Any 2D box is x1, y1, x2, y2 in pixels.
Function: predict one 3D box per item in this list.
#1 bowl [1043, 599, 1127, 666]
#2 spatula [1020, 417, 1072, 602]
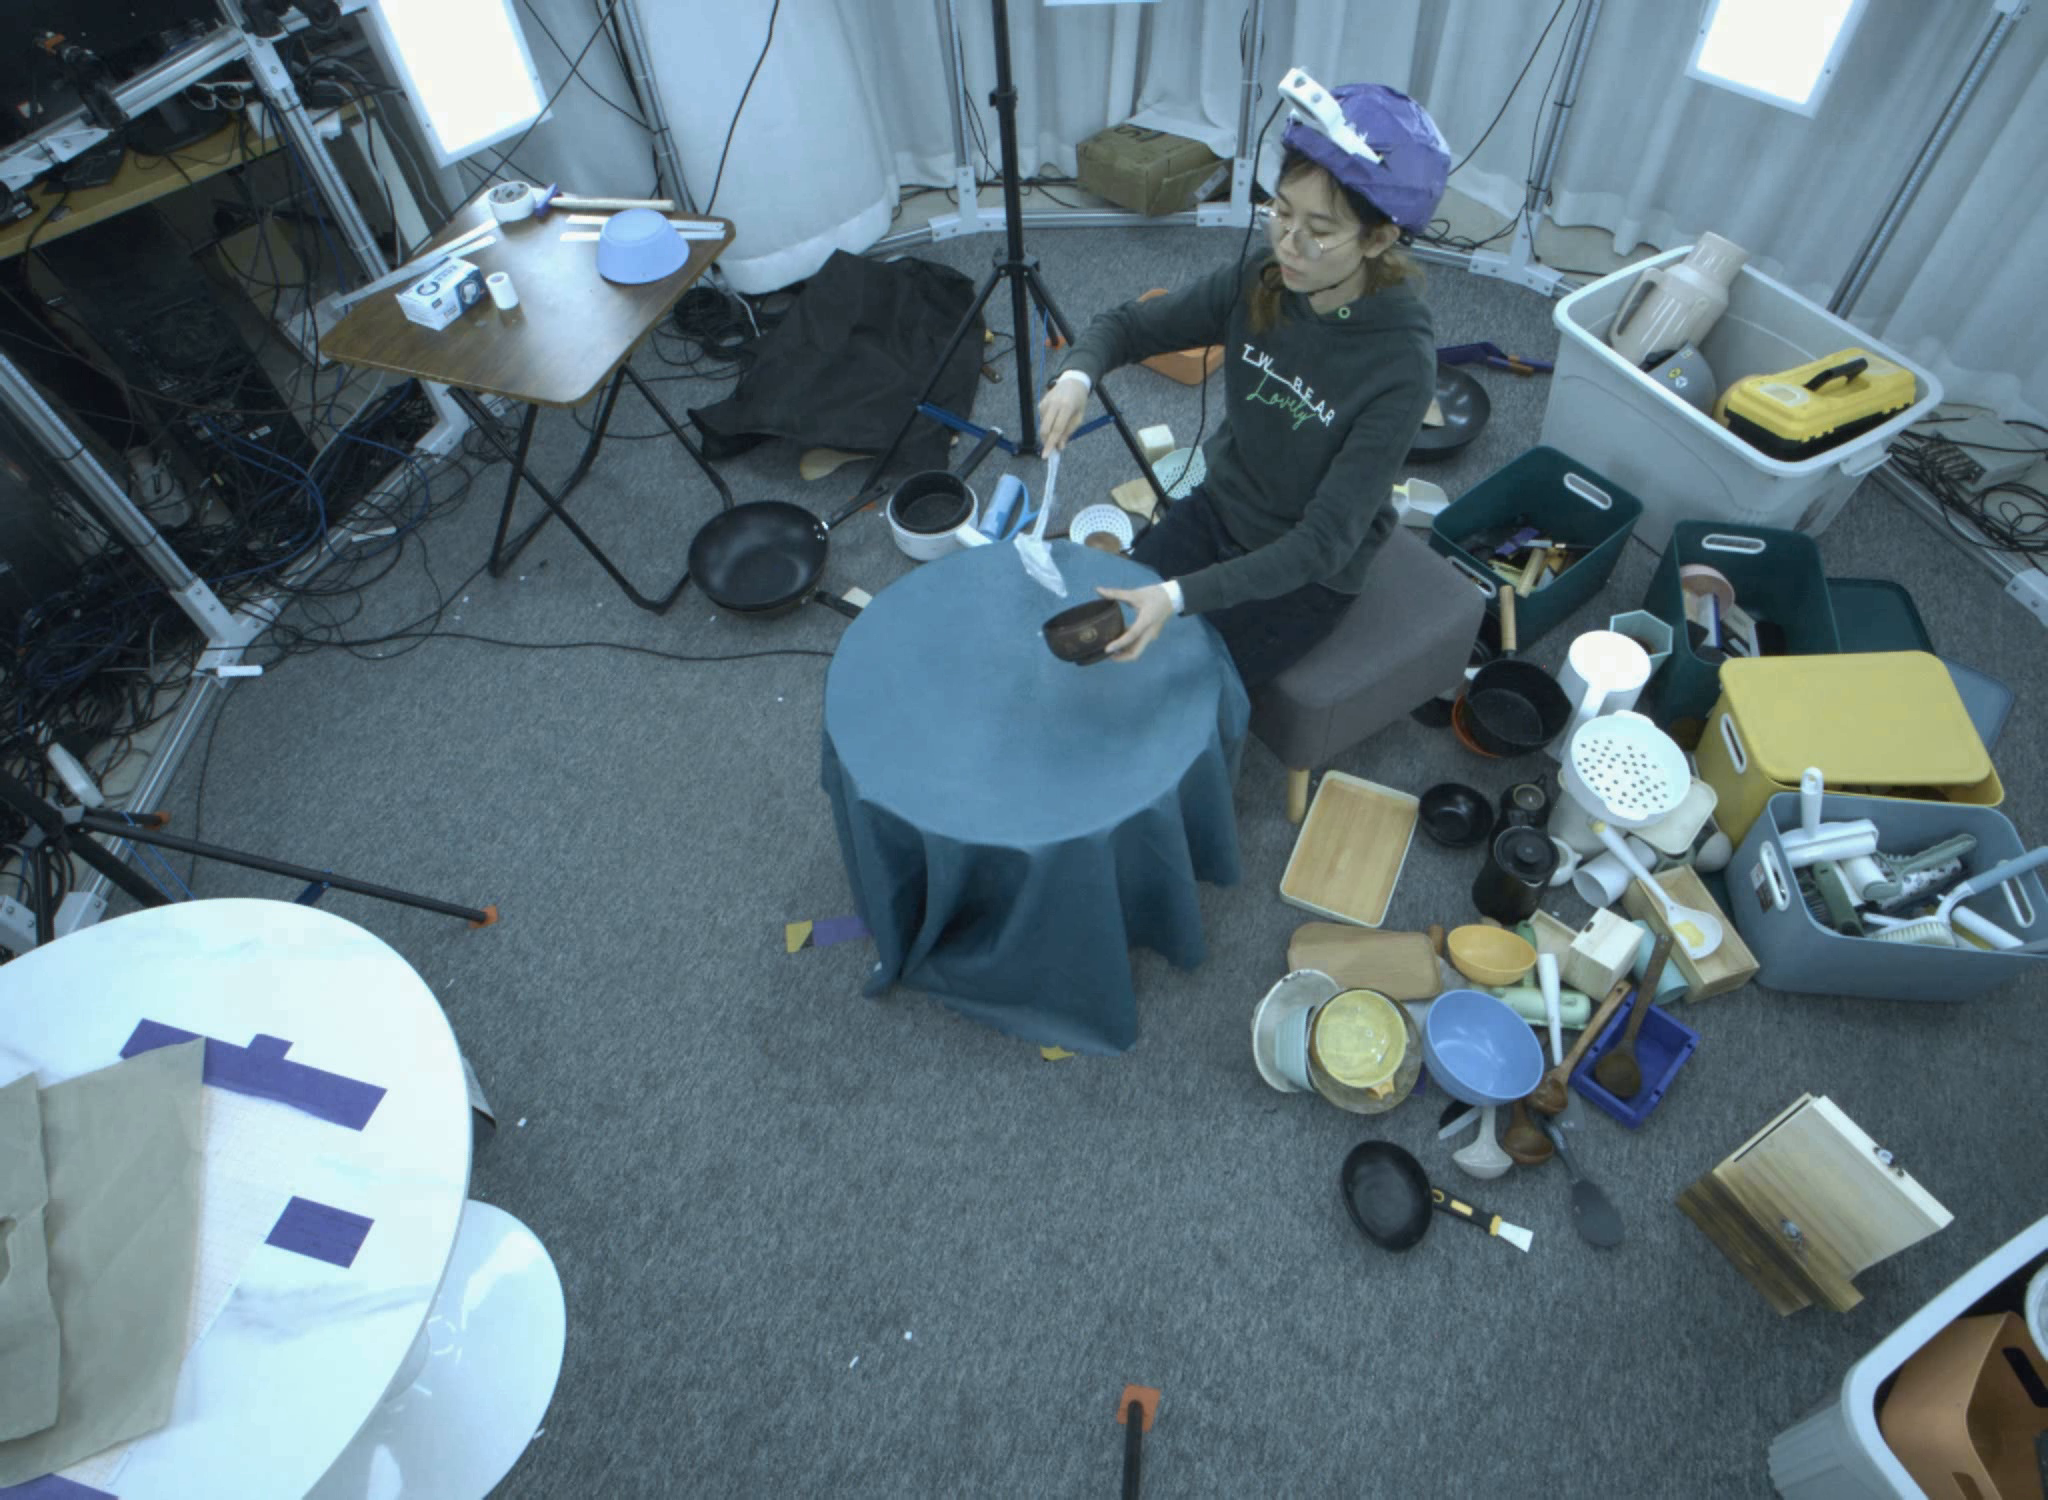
[{"bbox_3d":[0.091,-0.161,1.746,0.117,0.070,0.117,-16,20,7],"label":"bowl"},{"bbox_3d":[0.044,-0.372,1.789,0.044,0.101,0.362,-18,53,41],"label":"spatula"}]
